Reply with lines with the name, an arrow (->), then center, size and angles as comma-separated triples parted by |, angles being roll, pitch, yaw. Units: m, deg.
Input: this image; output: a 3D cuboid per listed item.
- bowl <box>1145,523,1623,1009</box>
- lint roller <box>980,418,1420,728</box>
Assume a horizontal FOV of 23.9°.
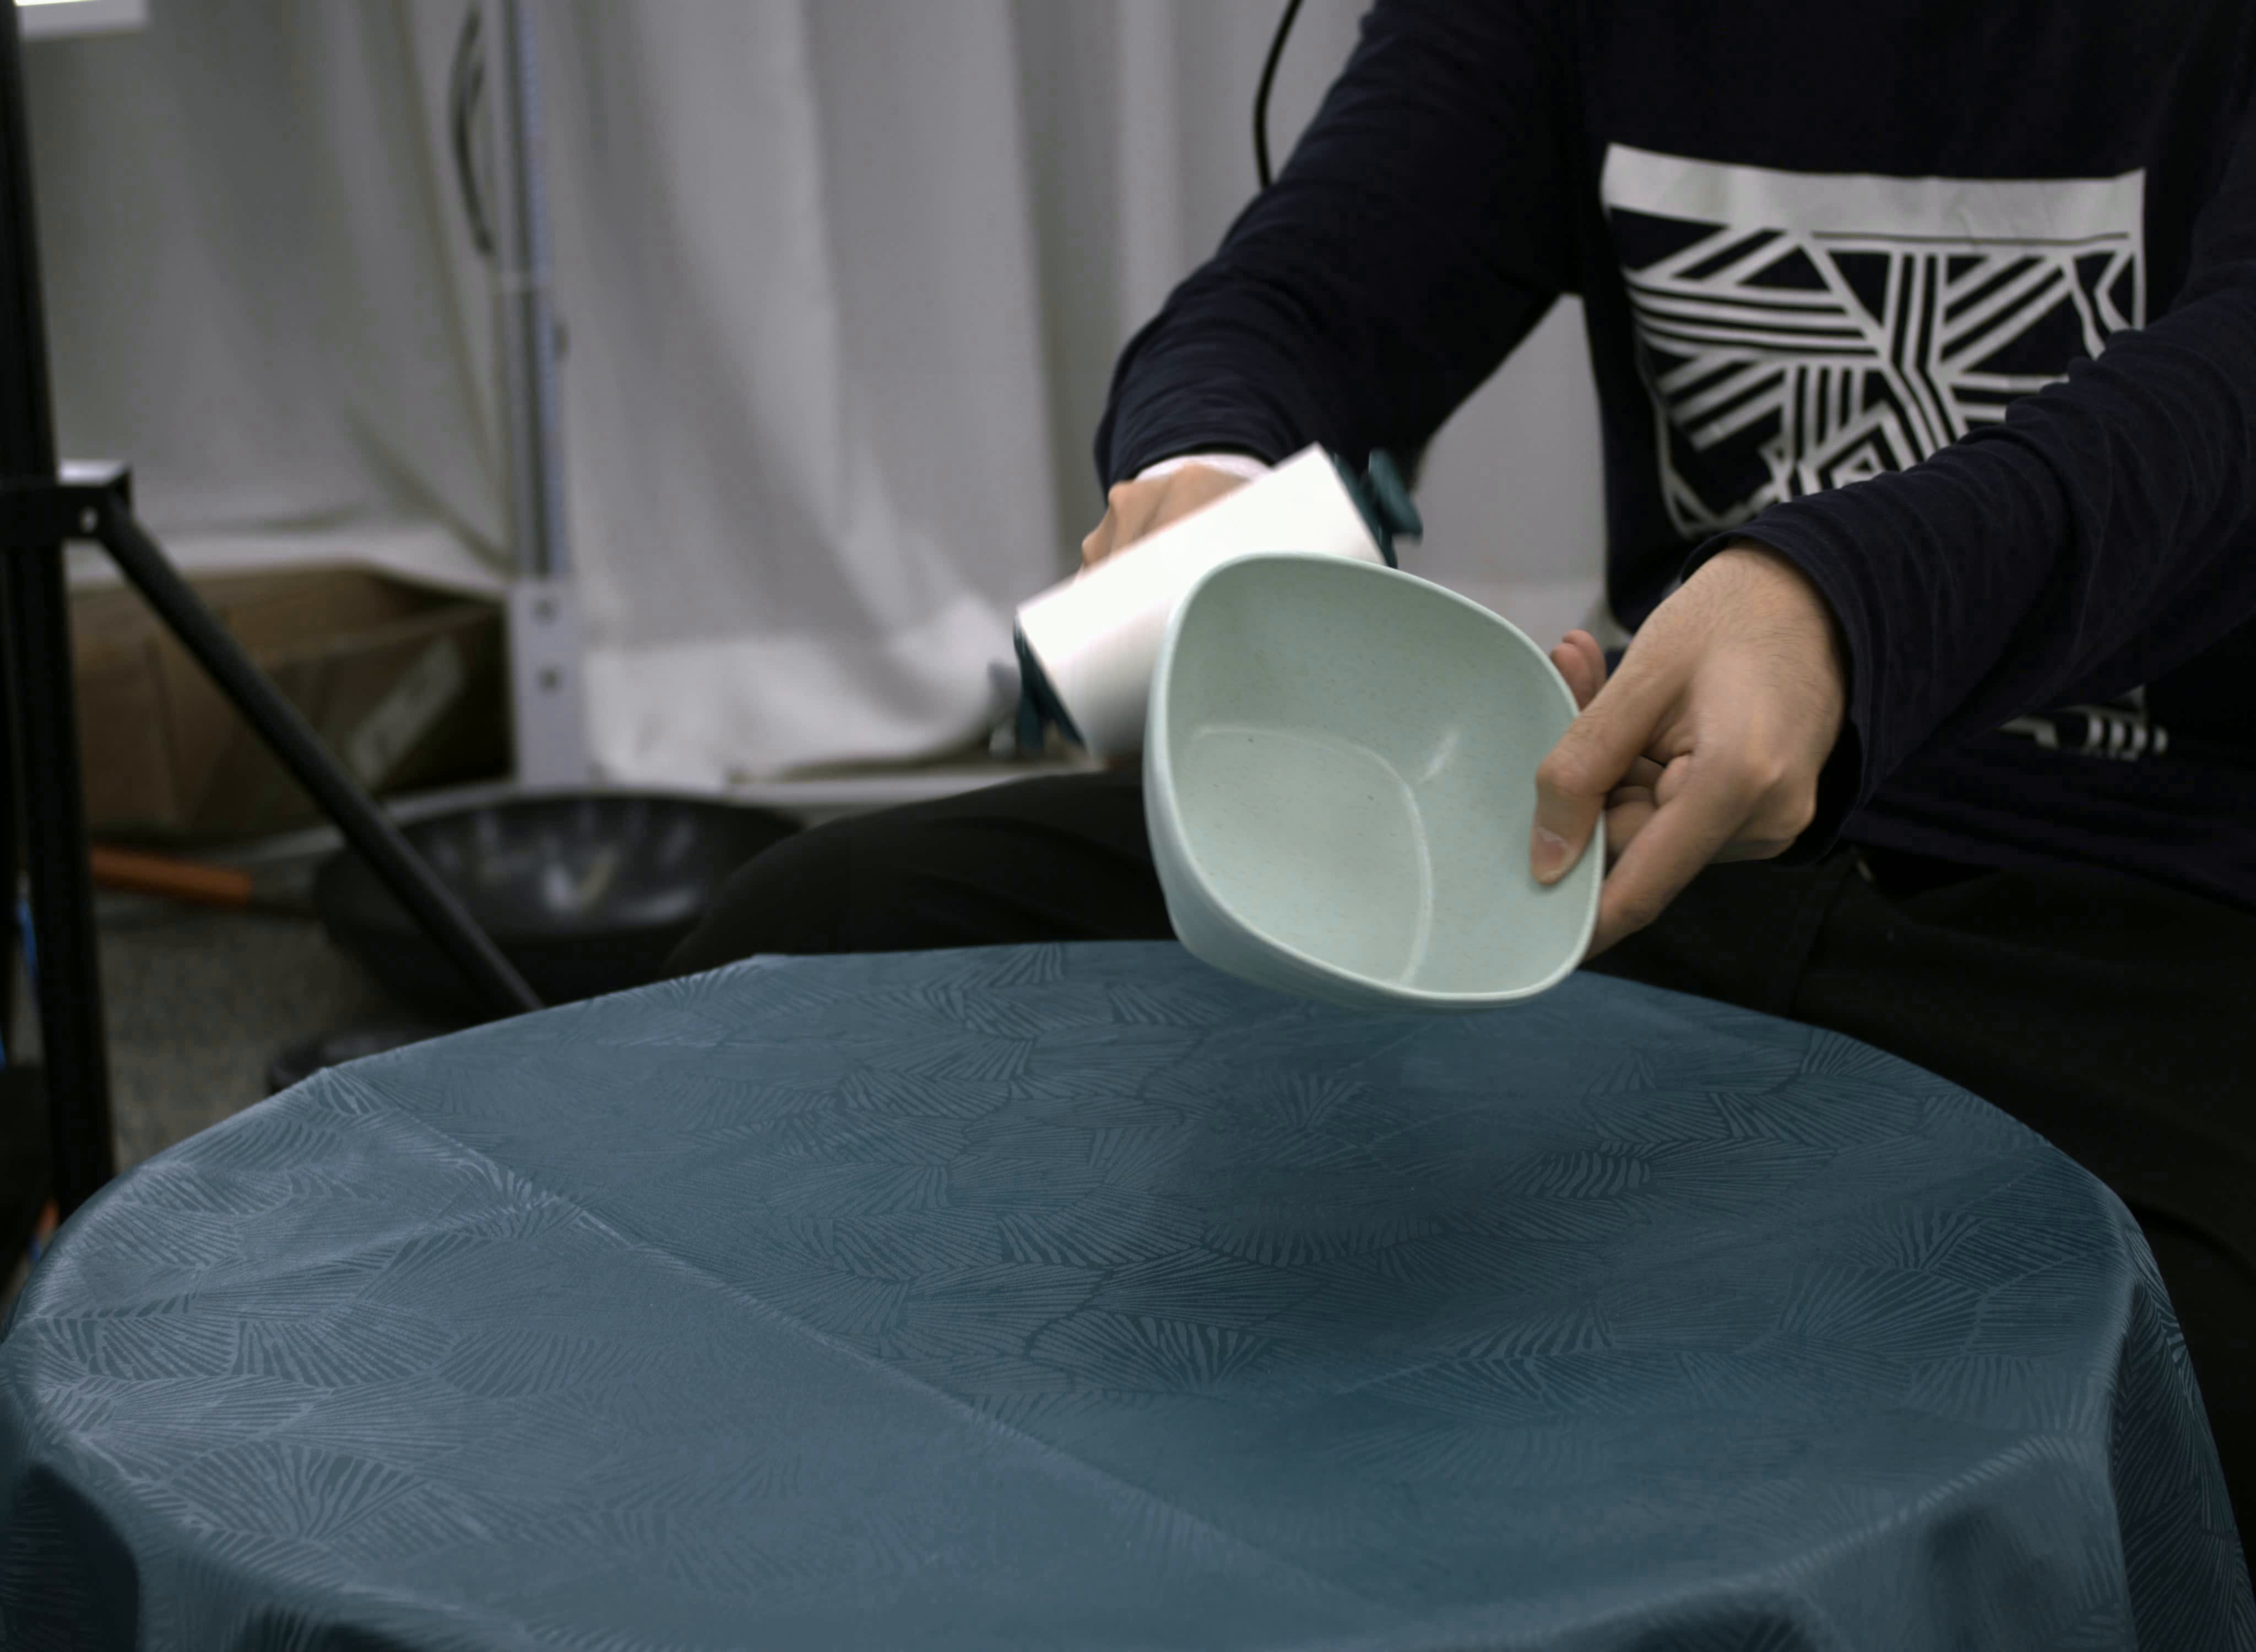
bowl -> 0.063, -0.008, 1.475 | 0.148, 0.153, 0.059 | -9, -20, -21
lint roller -> 0.020, -0.072, 1.583 | 0.134, 0.048, 0.180 | -27, 2, 0
